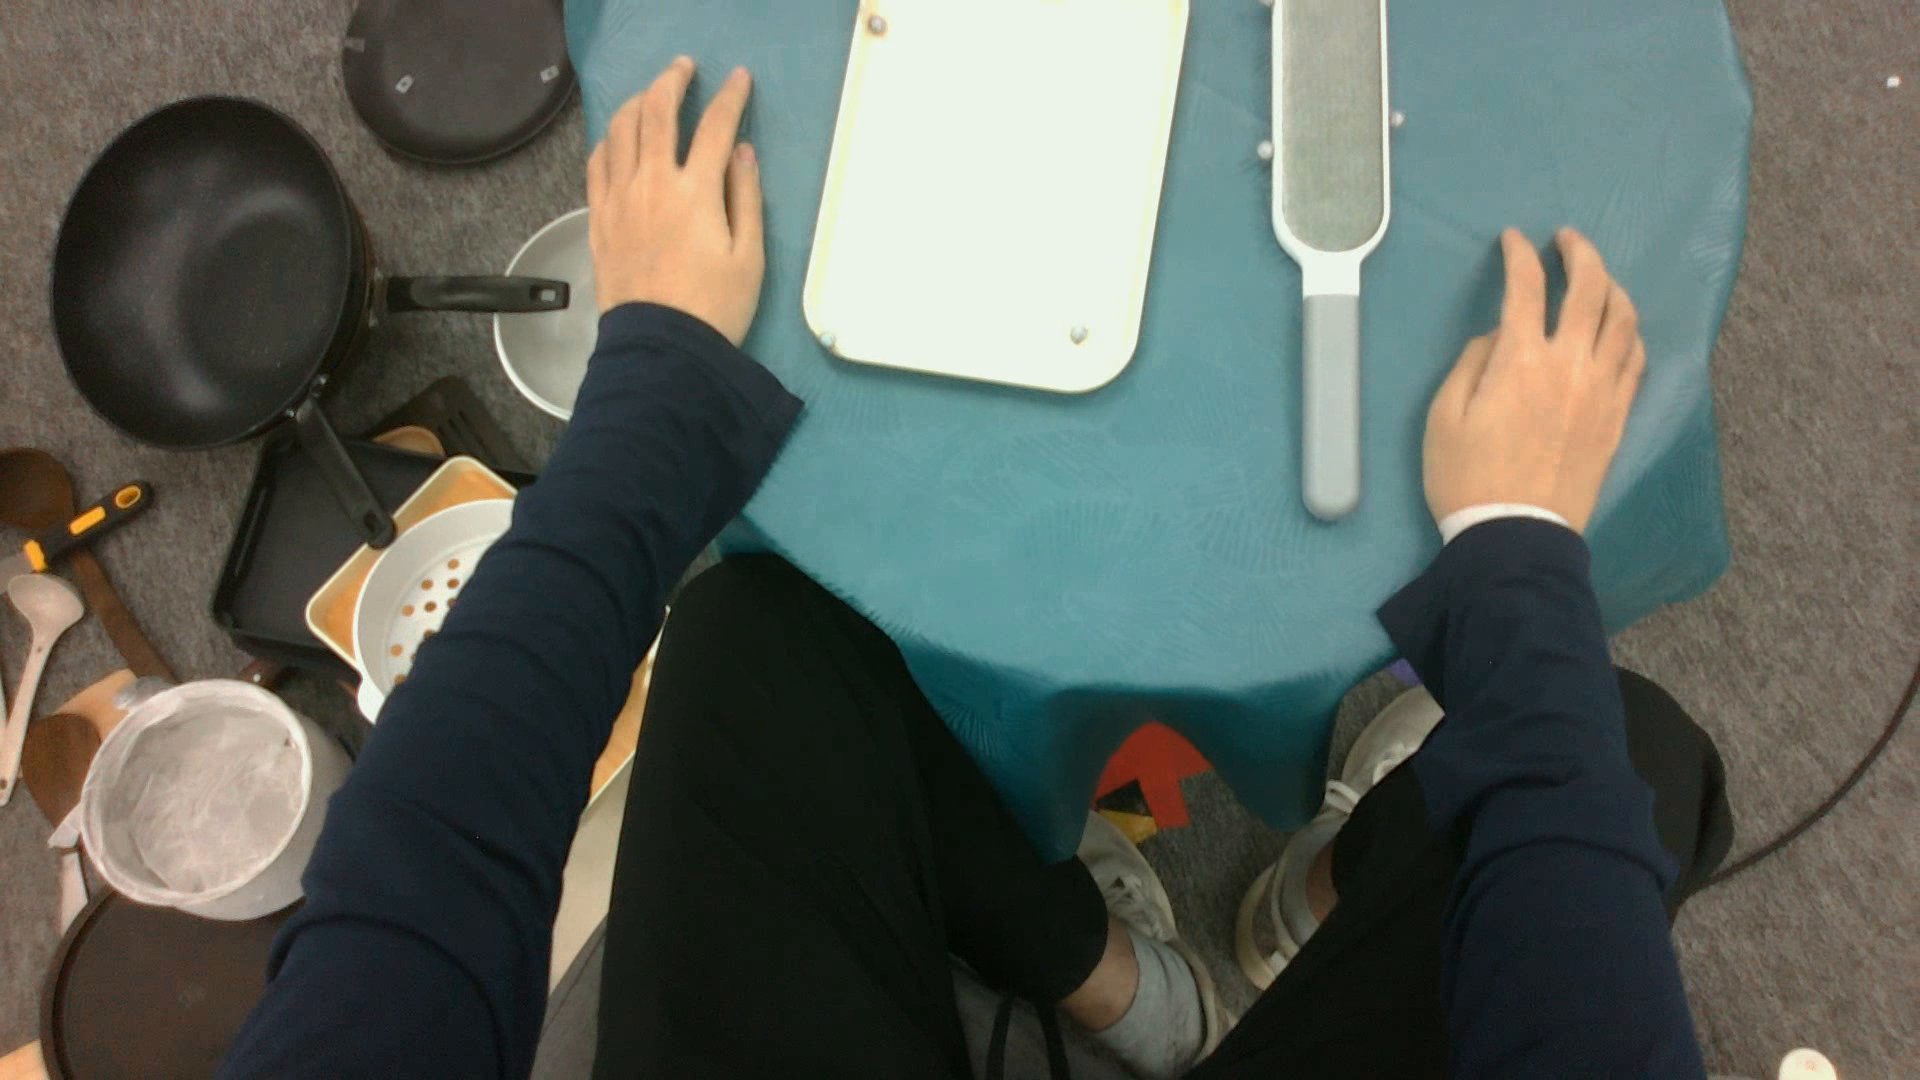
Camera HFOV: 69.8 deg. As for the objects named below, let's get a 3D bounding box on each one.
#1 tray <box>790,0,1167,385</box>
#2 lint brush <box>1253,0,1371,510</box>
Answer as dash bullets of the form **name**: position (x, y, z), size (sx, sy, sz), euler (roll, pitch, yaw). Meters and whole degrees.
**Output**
- **tray**: position (0.011, -0.198, 0.712), size (0.171, 0.017, 0.240), euler (8, 78, 3)
- **lint brush**: position (0.177, -0.166, 0.694), size (0.060, 0.021, 0.309), euler (3, 78, -3)
